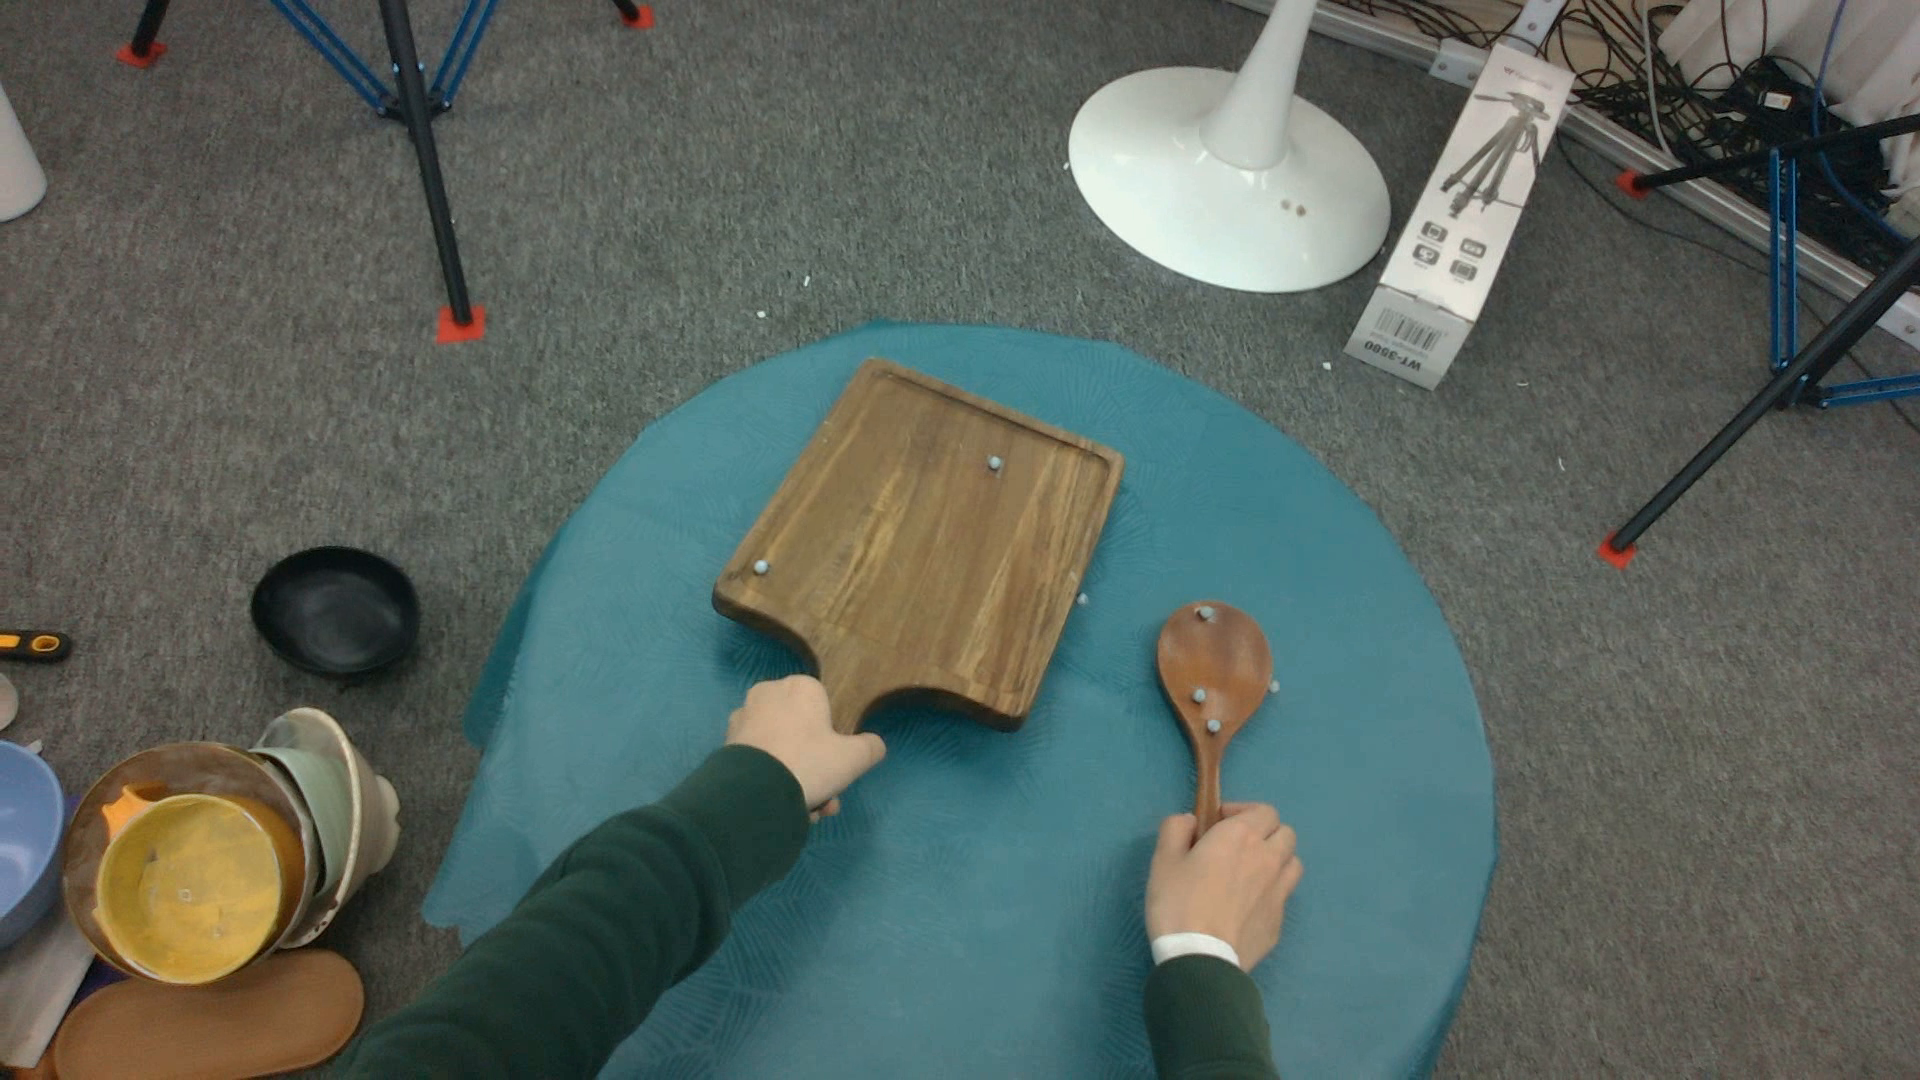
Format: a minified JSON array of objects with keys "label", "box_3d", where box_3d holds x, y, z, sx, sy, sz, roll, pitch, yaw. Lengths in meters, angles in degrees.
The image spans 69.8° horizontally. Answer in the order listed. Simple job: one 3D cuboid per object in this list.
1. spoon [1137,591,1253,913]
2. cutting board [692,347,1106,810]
[{"label":"spoon","box_3d":[0.139,0.120,0.823,0.075,0.017,0.217,11,51,-3]},{"label":"cutting board","box_3d":[-0.042,0.018,0.830,0.201,0.023,0.354,23,45,3]}]
